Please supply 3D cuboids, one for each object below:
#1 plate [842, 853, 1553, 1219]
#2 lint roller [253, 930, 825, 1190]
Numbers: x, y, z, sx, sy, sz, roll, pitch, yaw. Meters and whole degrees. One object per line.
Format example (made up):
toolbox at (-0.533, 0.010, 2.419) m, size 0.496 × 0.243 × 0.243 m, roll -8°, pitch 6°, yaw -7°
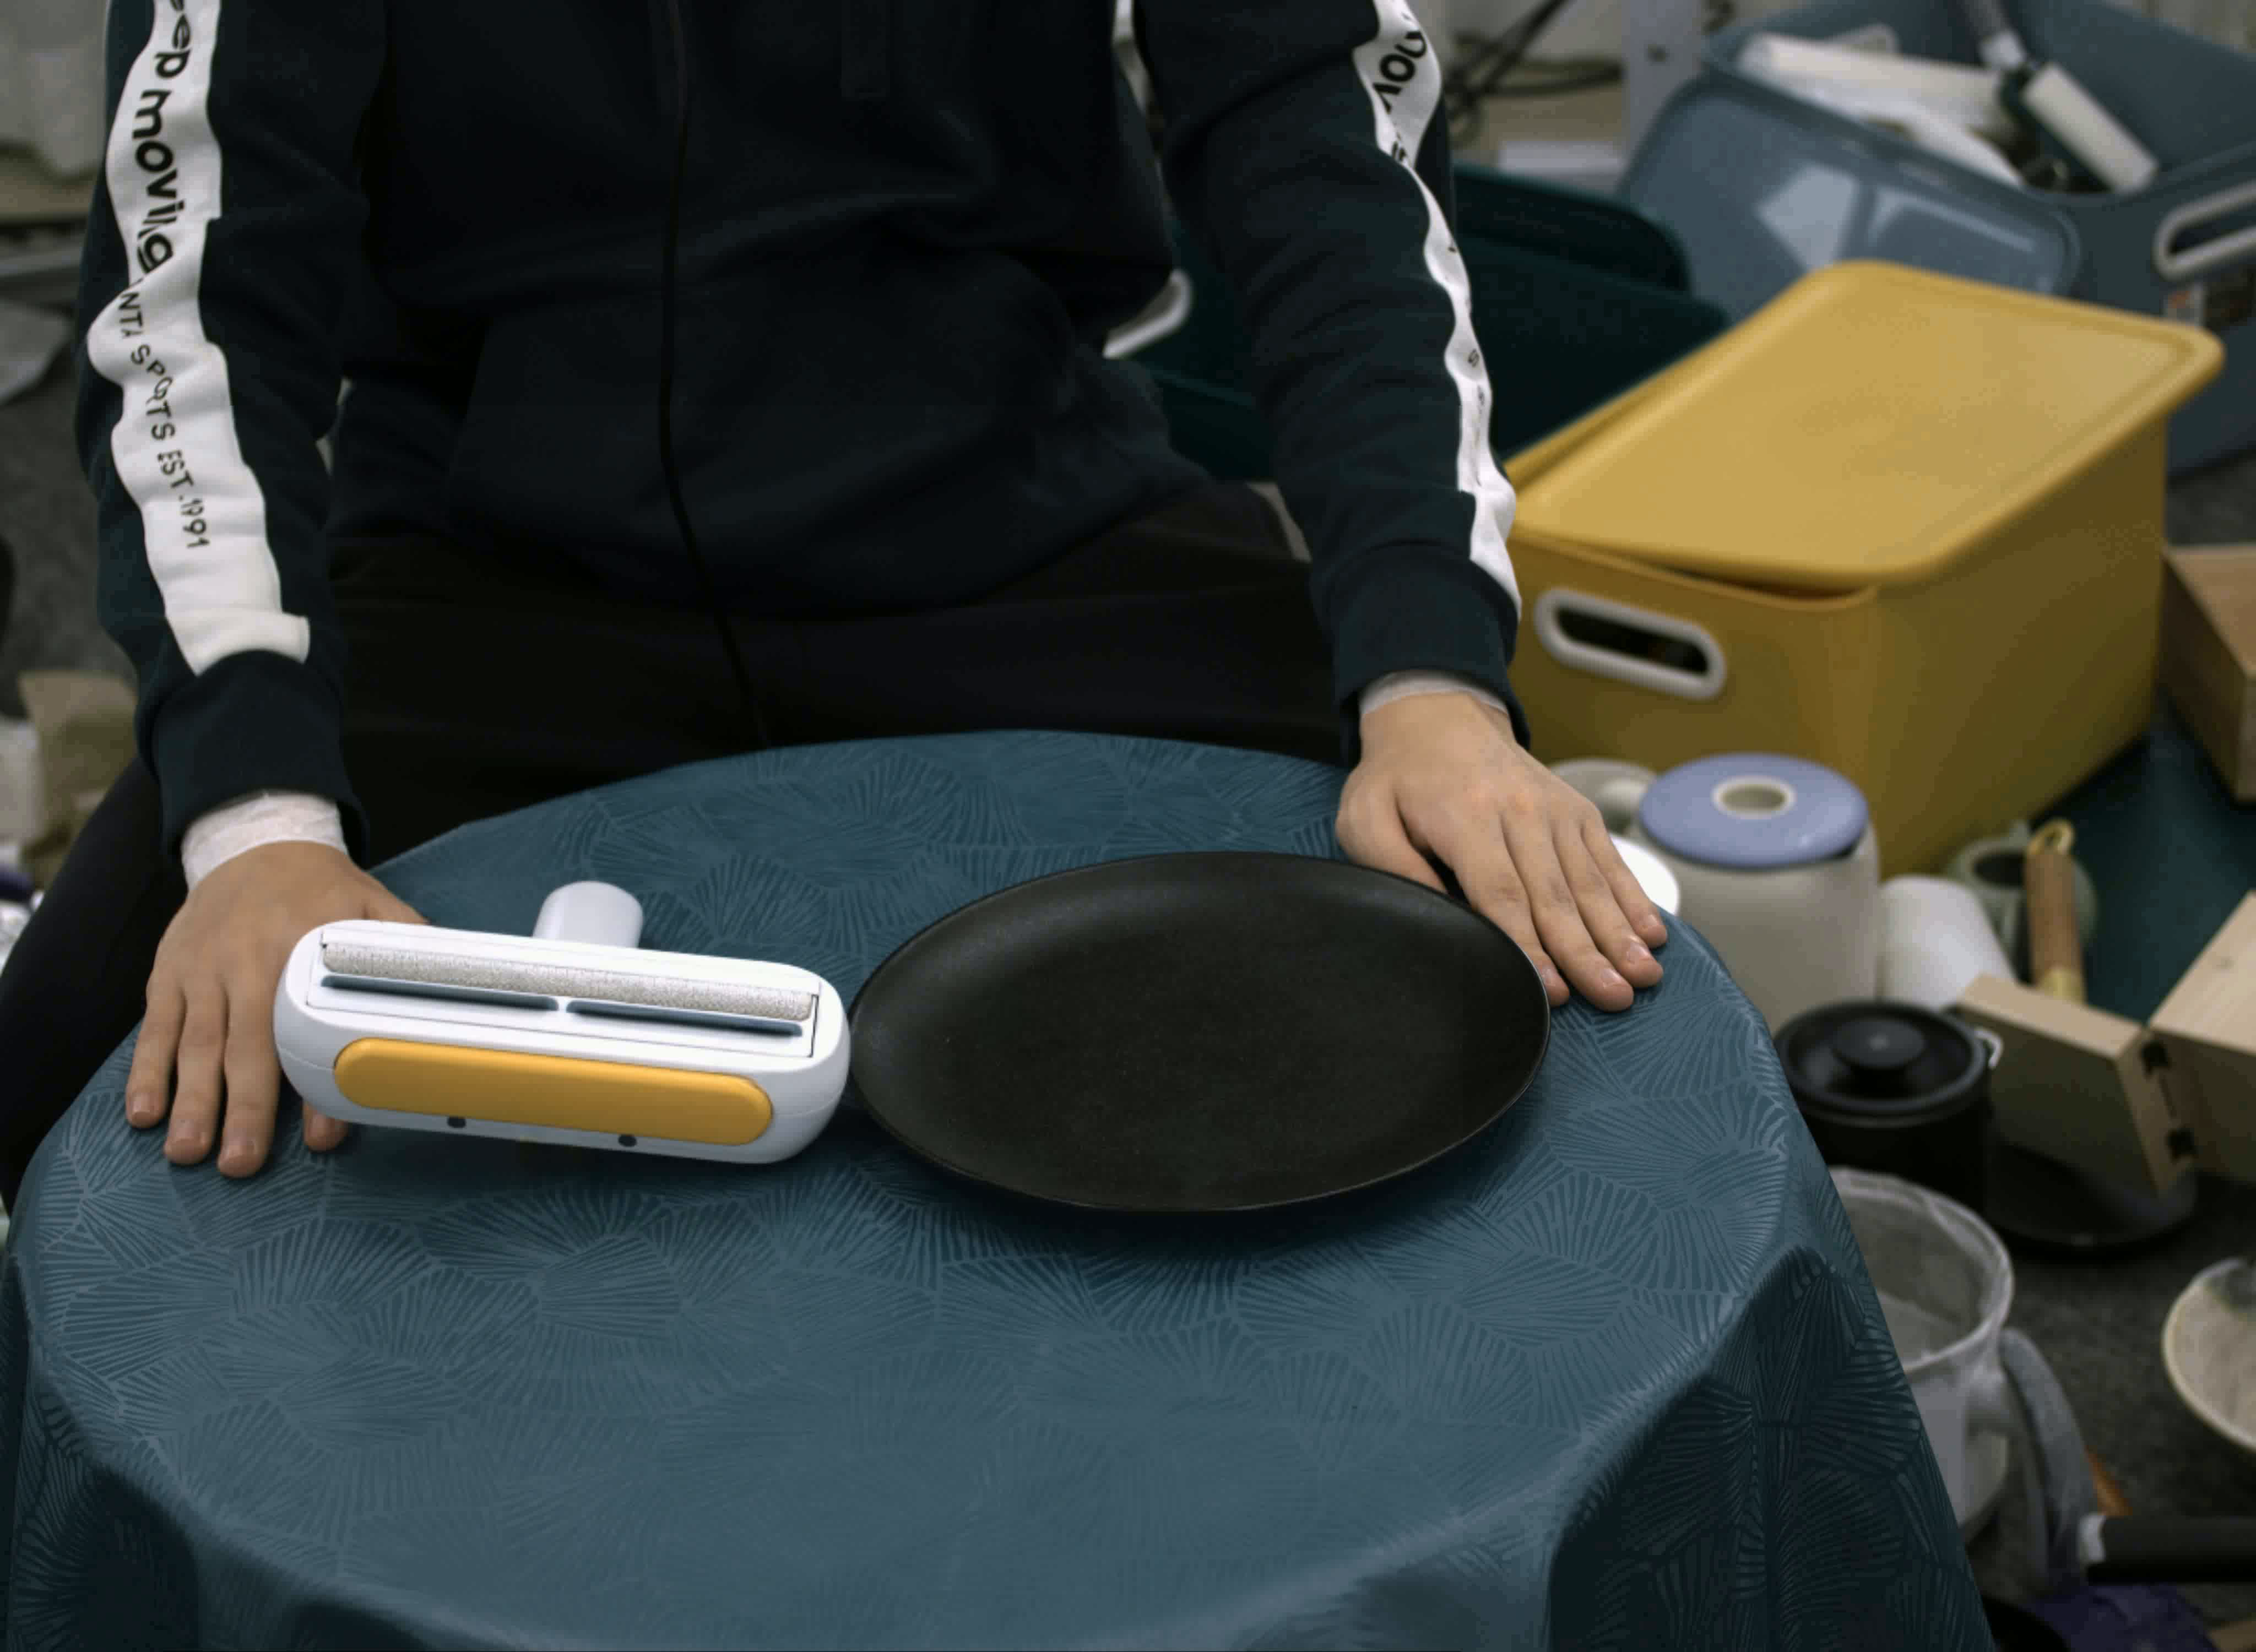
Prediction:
plate at (0.023, 0.076, 1.921) m, size 0.243 × 0.023 × 0.248 m, roll -2°, pitch 28°, yaw 2°
lint roller at (-0.193, 0.071, 1.943) m, size 0.192 × 0.074 × 0.194 m, roll 6°, pitch 14°, yaw 3°
